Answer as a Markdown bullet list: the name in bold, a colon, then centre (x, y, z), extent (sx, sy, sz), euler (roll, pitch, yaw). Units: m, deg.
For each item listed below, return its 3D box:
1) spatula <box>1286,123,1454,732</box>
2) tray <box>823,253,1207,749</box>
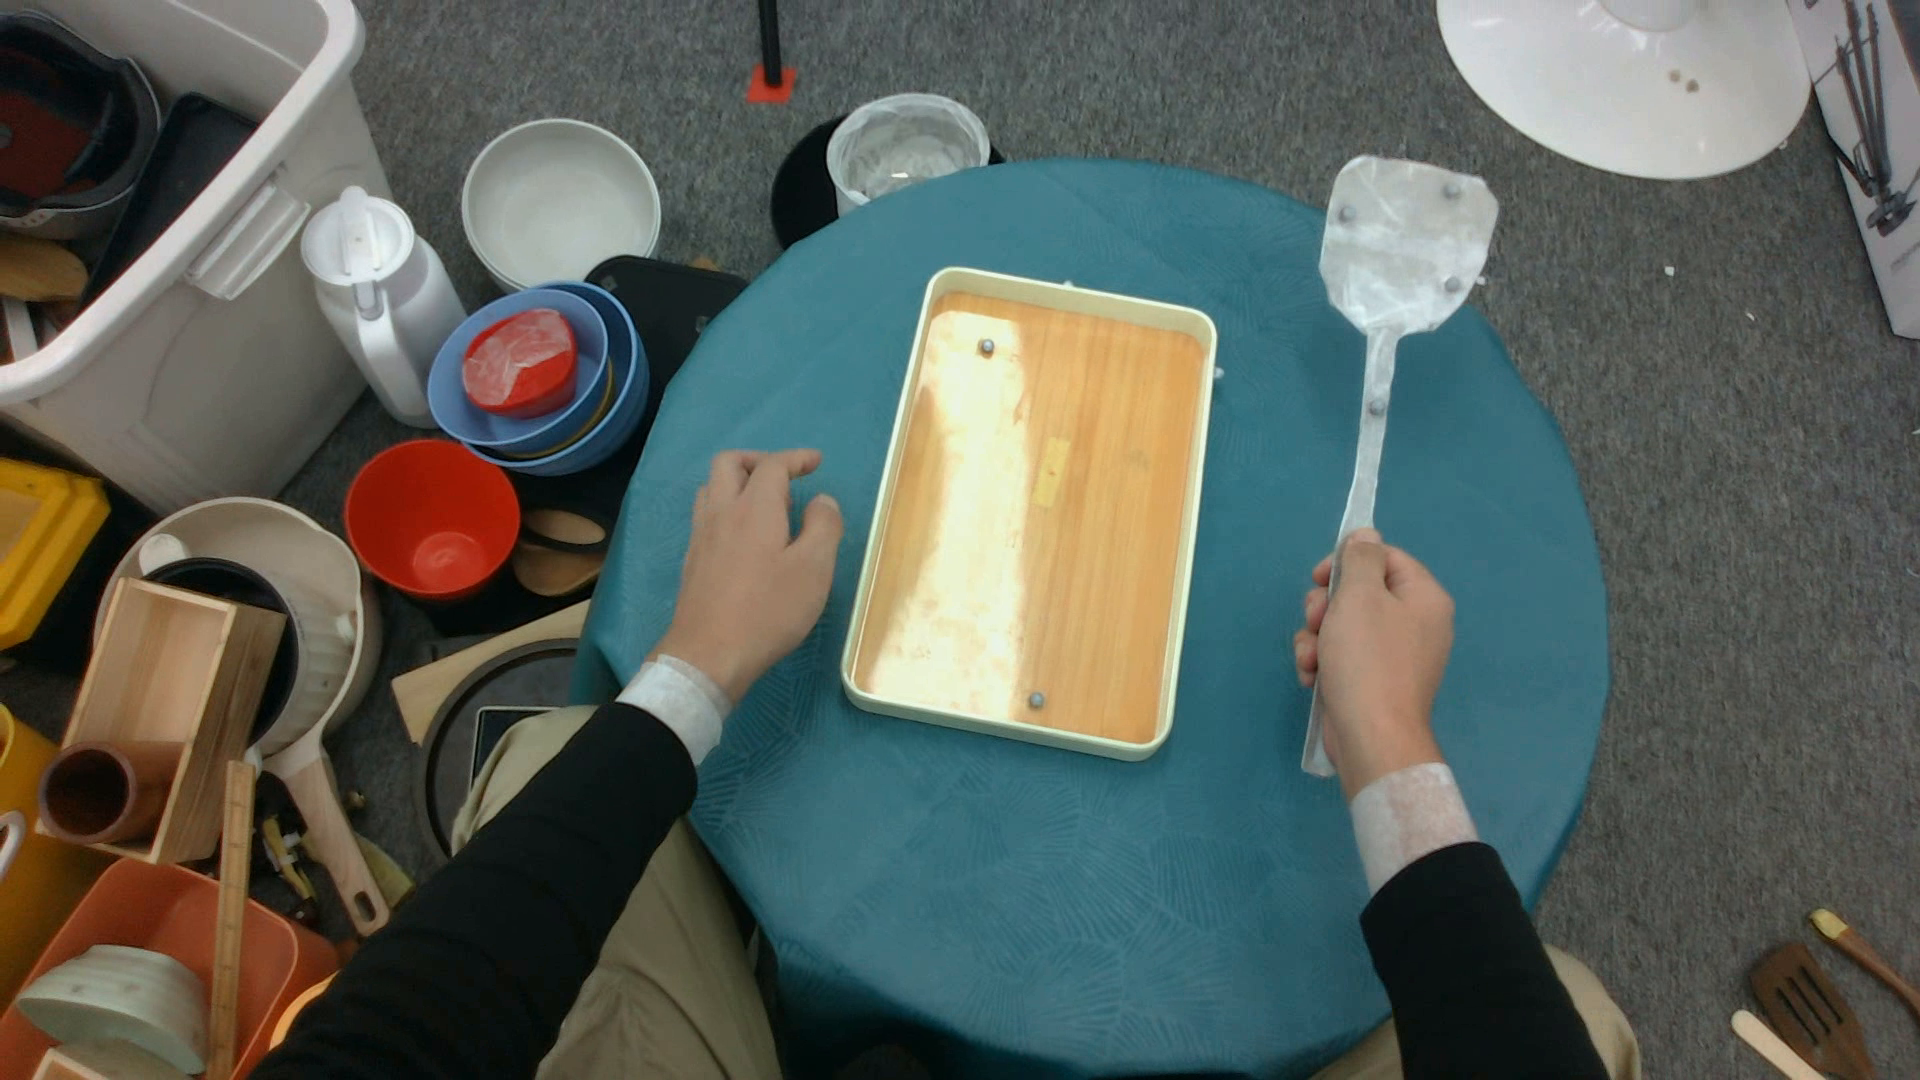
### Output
- **spatula**: centre (0.238, -0.074, 0.789), extent (0.098, 0.044, 0.366), euler (-1, 69, 14)
- **tray**: centre (0.040, -0.033, 0.836), extent (0.191, 0.027, 0.301), euler (11, 65, 1)
